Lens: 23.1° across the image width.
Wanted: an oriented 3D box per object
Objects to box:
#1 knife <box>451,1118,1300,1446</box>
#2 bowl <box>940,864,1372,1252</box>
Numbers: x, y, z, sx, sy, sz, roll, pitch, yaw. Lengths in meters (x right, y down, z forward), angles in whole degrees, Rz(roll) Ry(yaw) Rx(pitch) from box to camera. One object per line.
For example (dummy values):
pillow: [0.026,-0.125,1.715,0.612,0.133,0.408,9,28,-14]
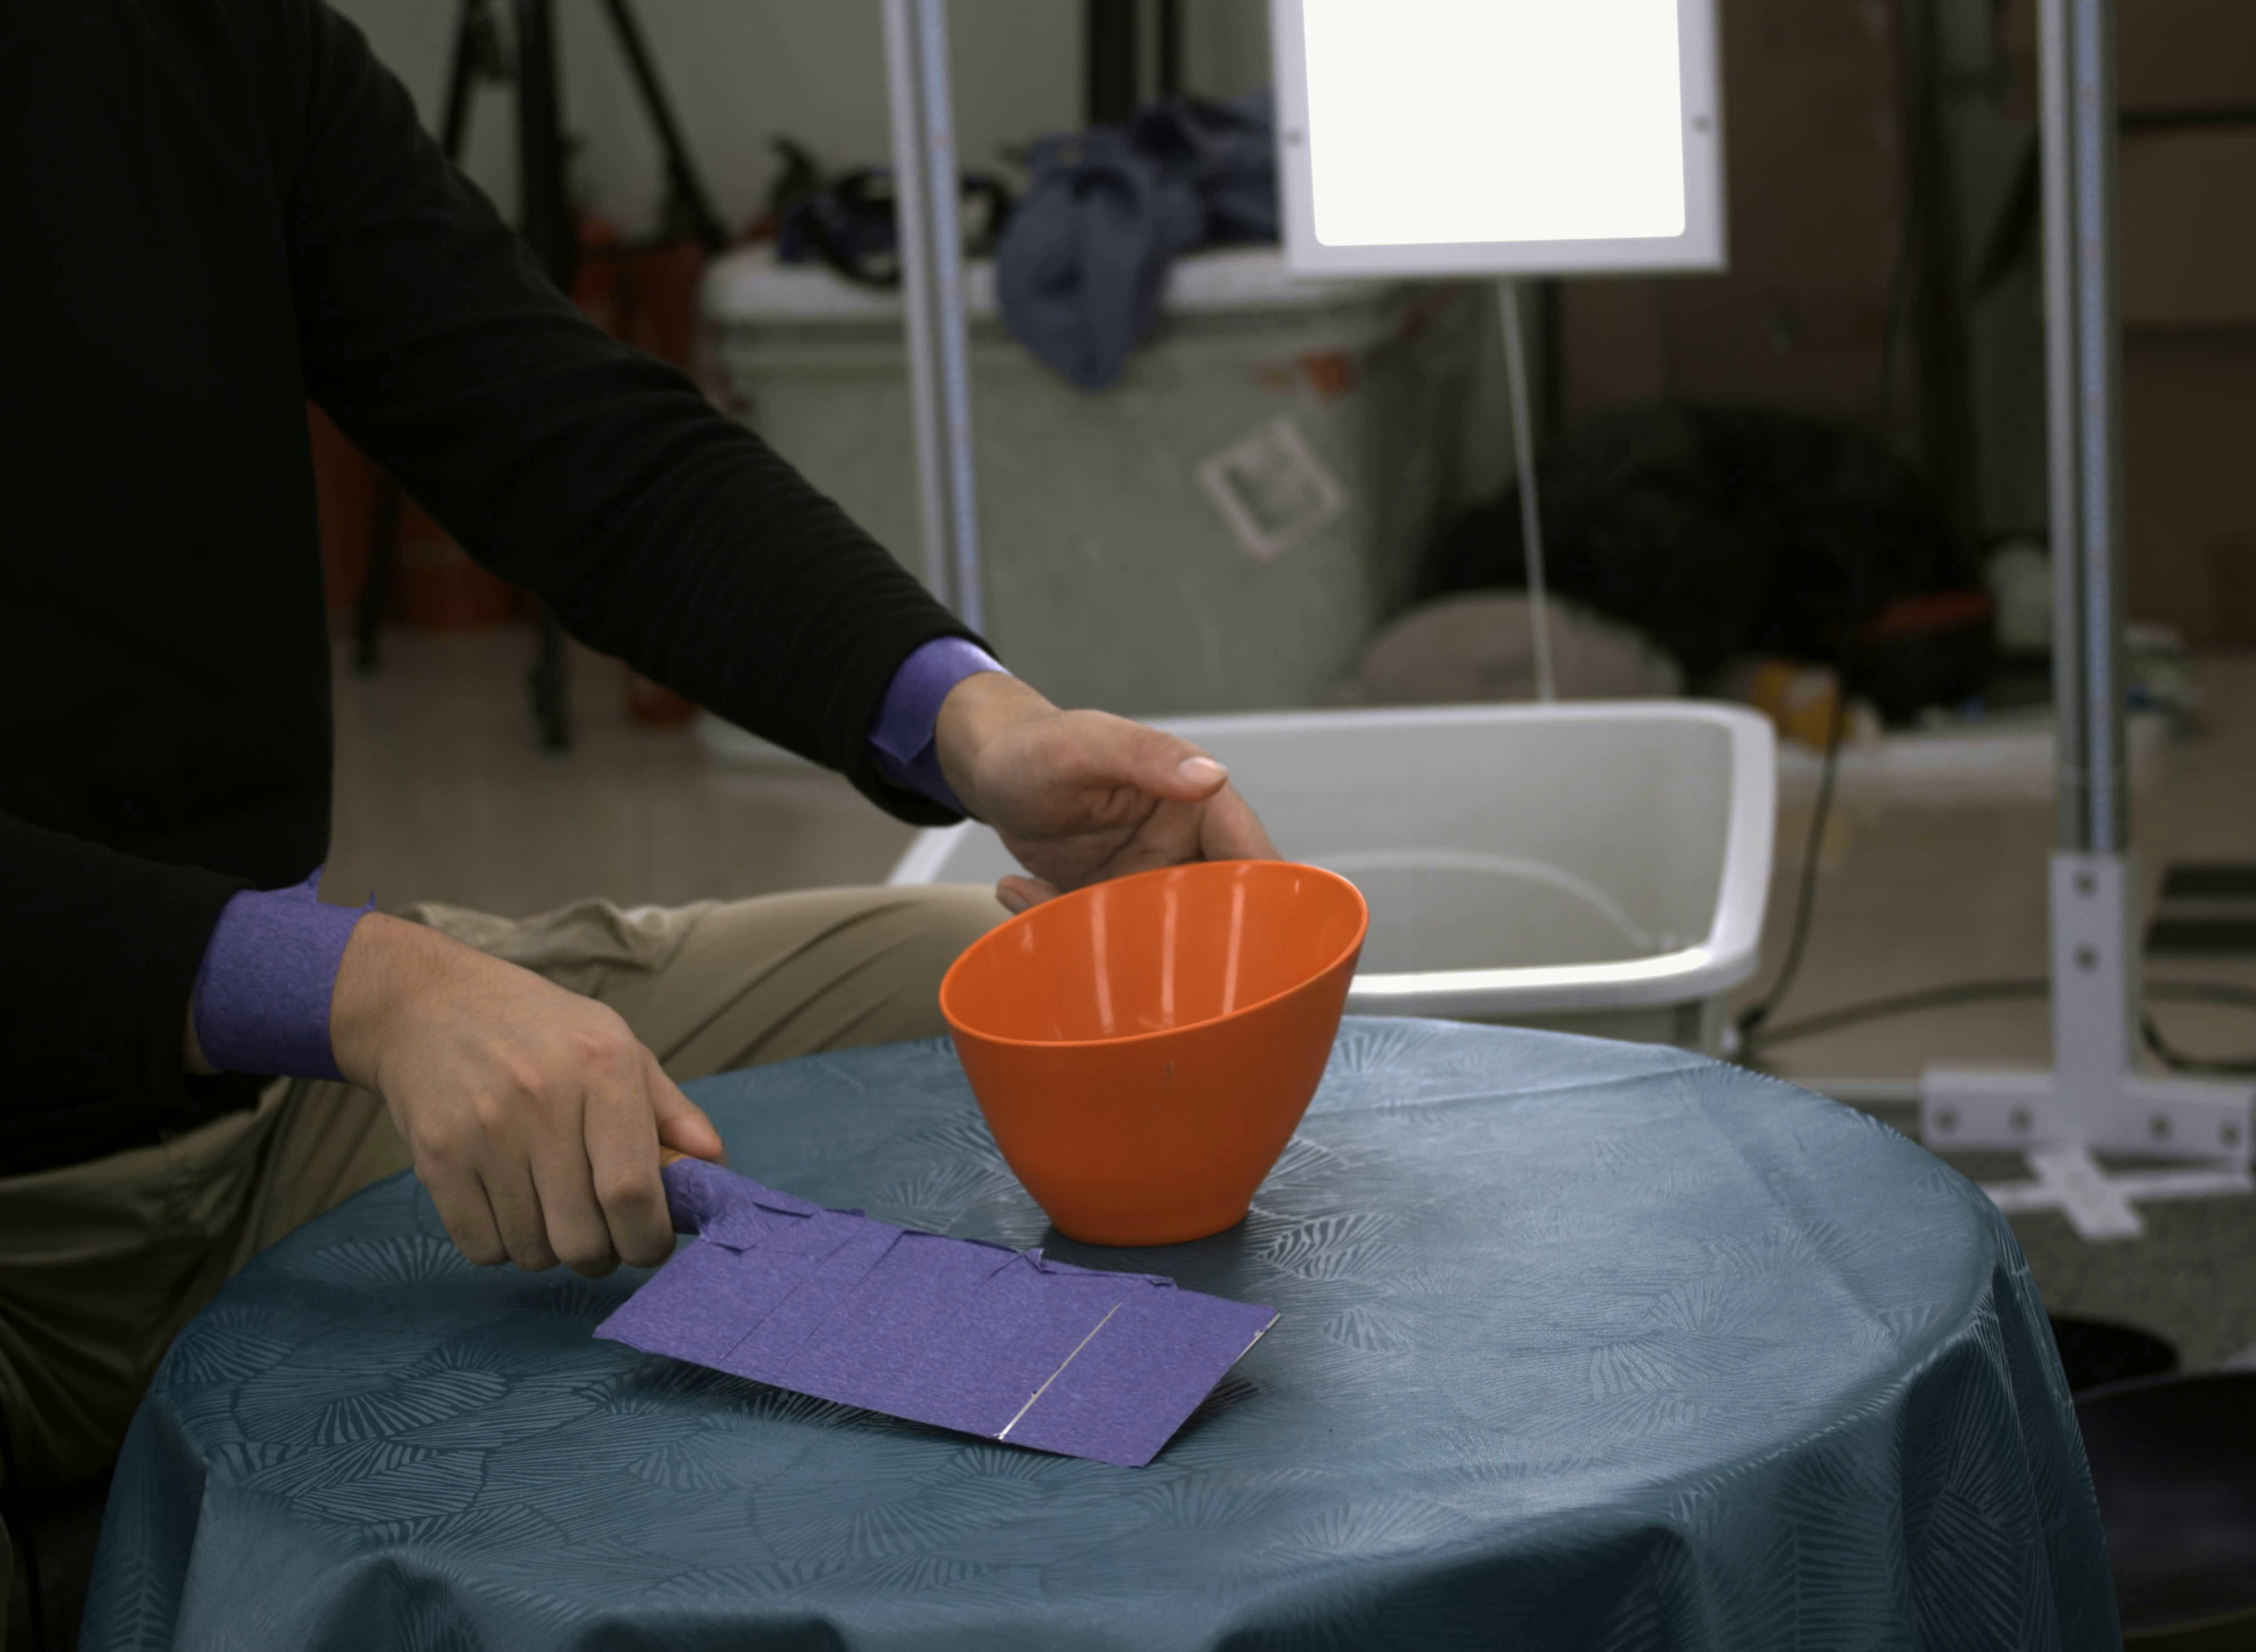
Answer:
knife: [-0.103,0.143,1.749,0.321,0.032,0.101,7,32,33]
bowl: [0.012,0.082,1.864,0.147,0.105,0.148,-5,15,0]
